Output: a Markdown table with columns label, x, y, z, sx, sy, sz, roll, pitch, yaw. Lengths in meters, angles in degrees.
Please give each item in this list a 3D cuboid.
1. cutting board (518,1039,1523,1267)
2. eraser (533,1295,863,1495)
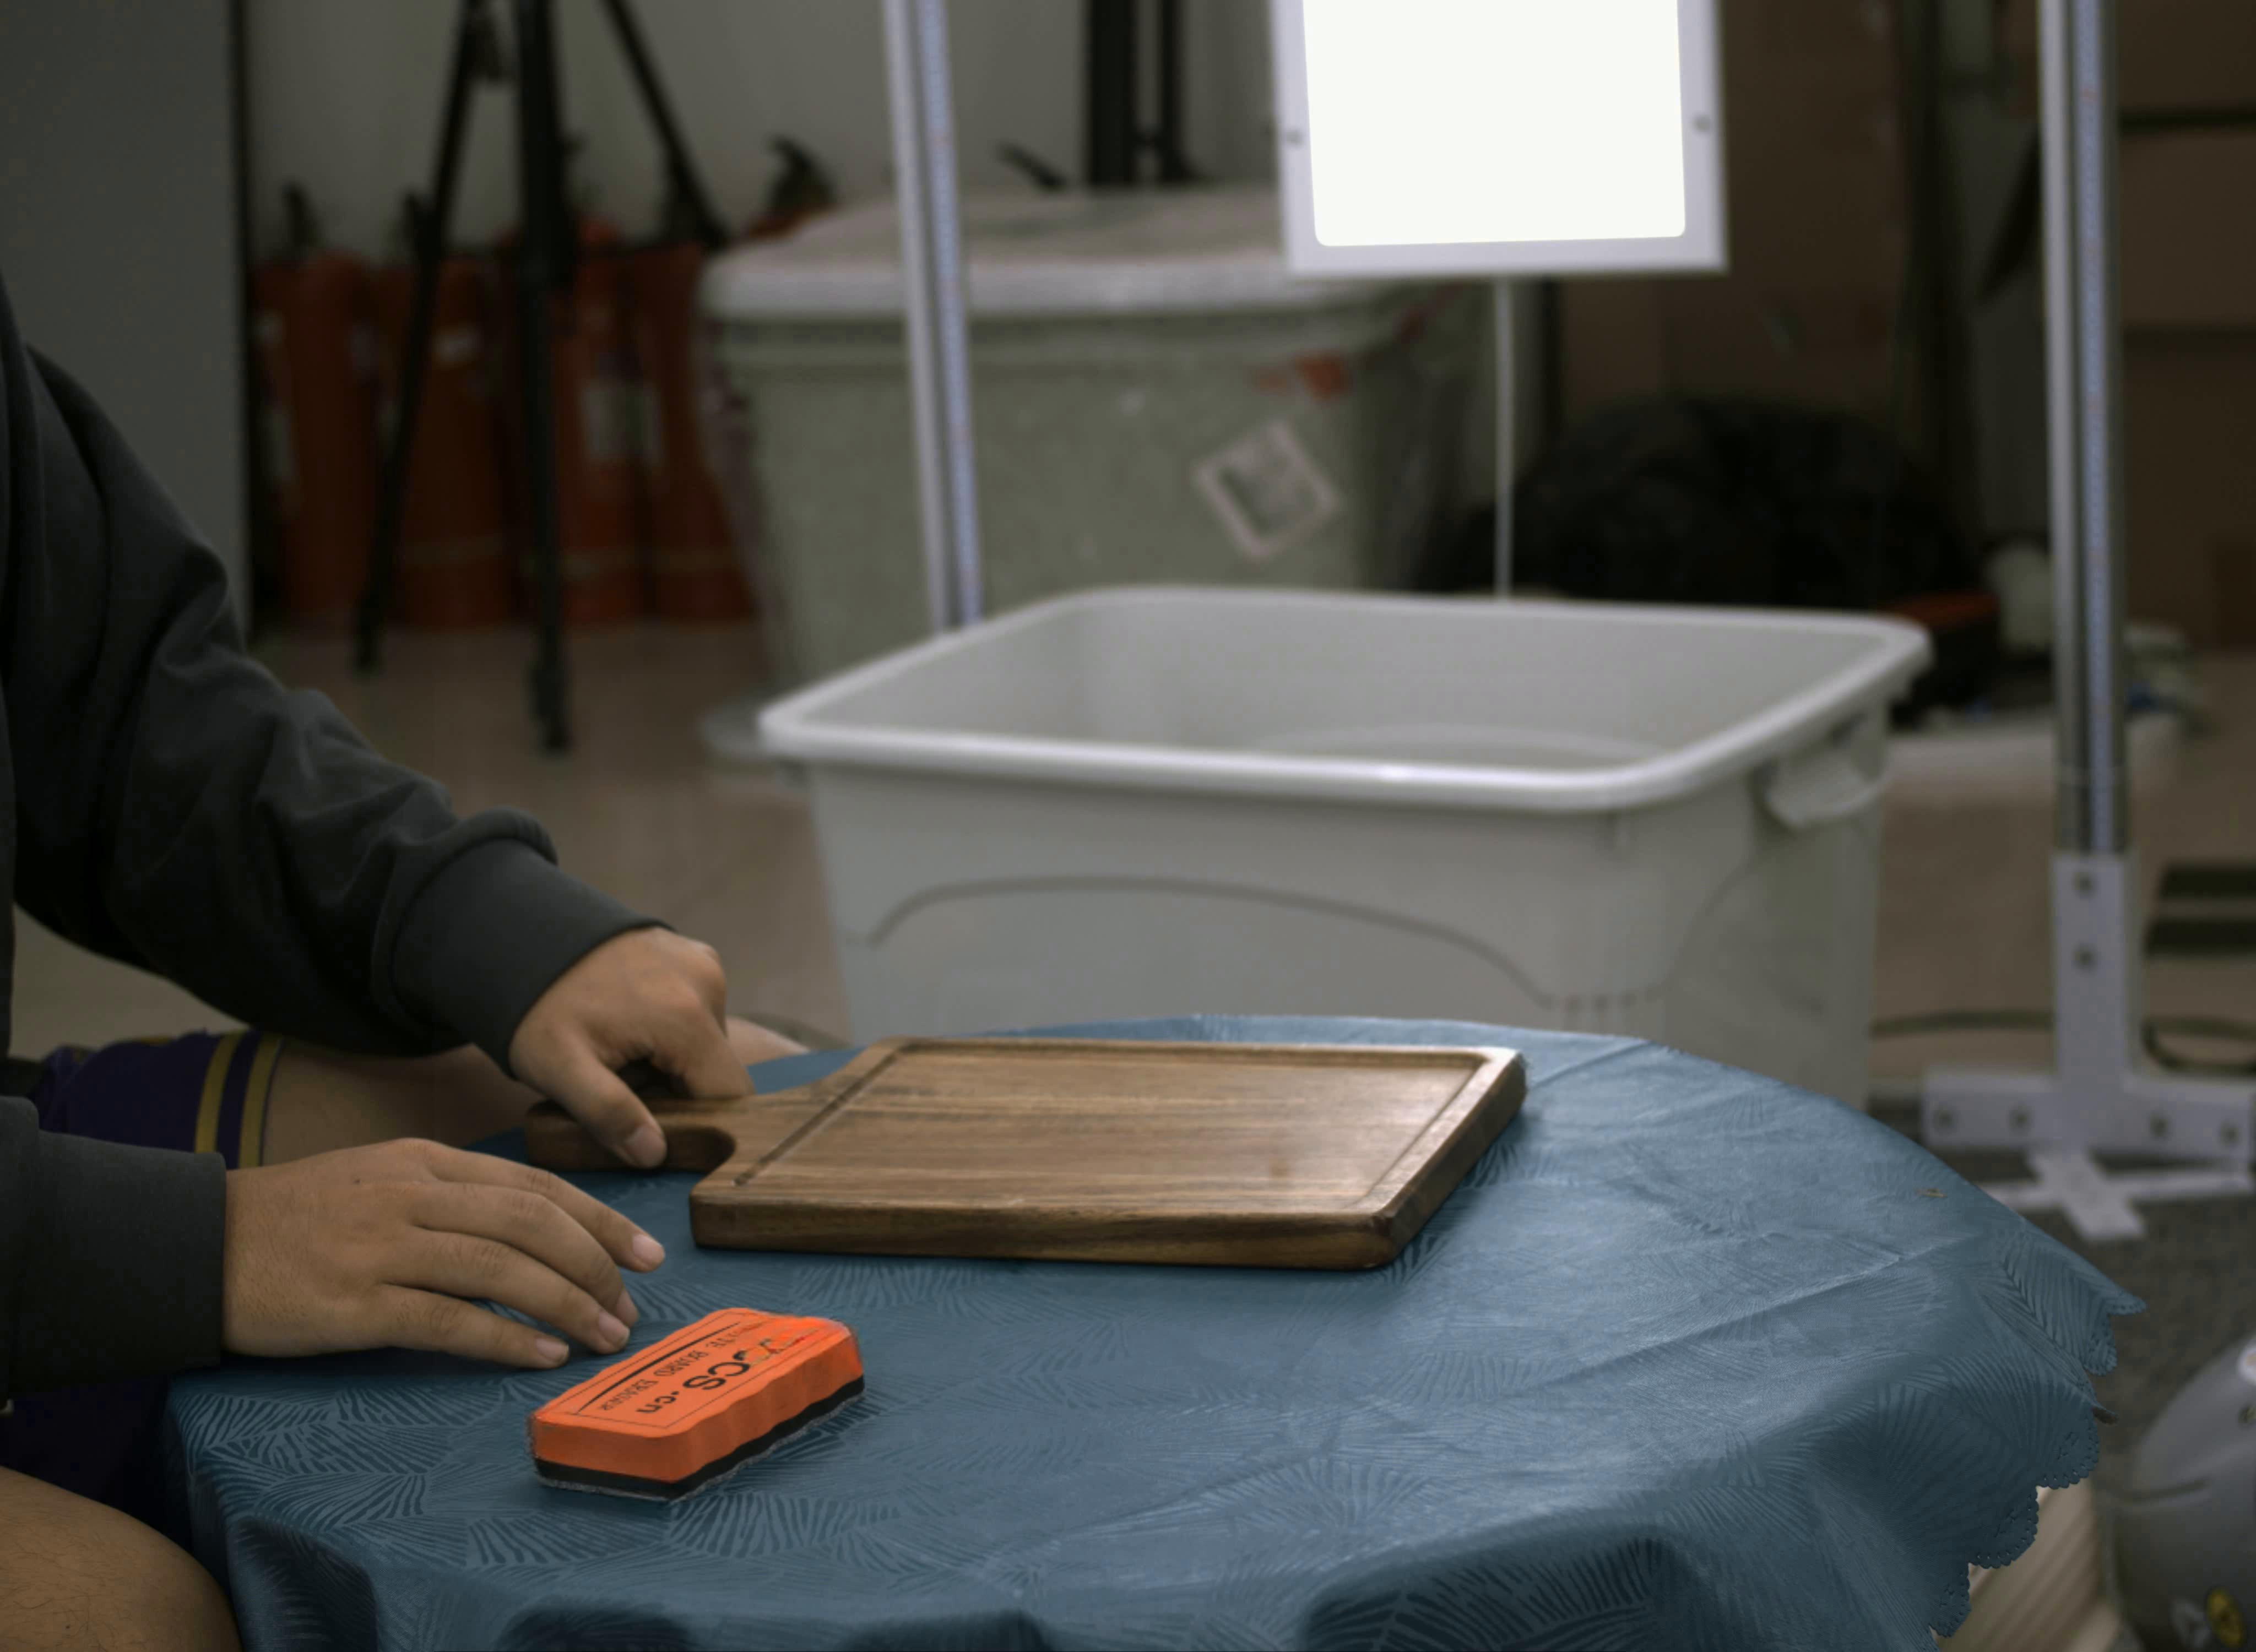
| label | x | y | z | sx | sy | sz | roll | pitch | yaw |
| --- | --- | --- | --- | --- | --- | --- | --- | --- | --- |
| cutting board | -0.050 | 0.111 | 1.935 | 0.357 | 0.023 | 0.197 | 0 | 15 | 20 |
| eraser | -0.131 | 0.173 | 1.690 | 0.060 | 0.023 | 0.105 | 3 | 17 | 32 |
